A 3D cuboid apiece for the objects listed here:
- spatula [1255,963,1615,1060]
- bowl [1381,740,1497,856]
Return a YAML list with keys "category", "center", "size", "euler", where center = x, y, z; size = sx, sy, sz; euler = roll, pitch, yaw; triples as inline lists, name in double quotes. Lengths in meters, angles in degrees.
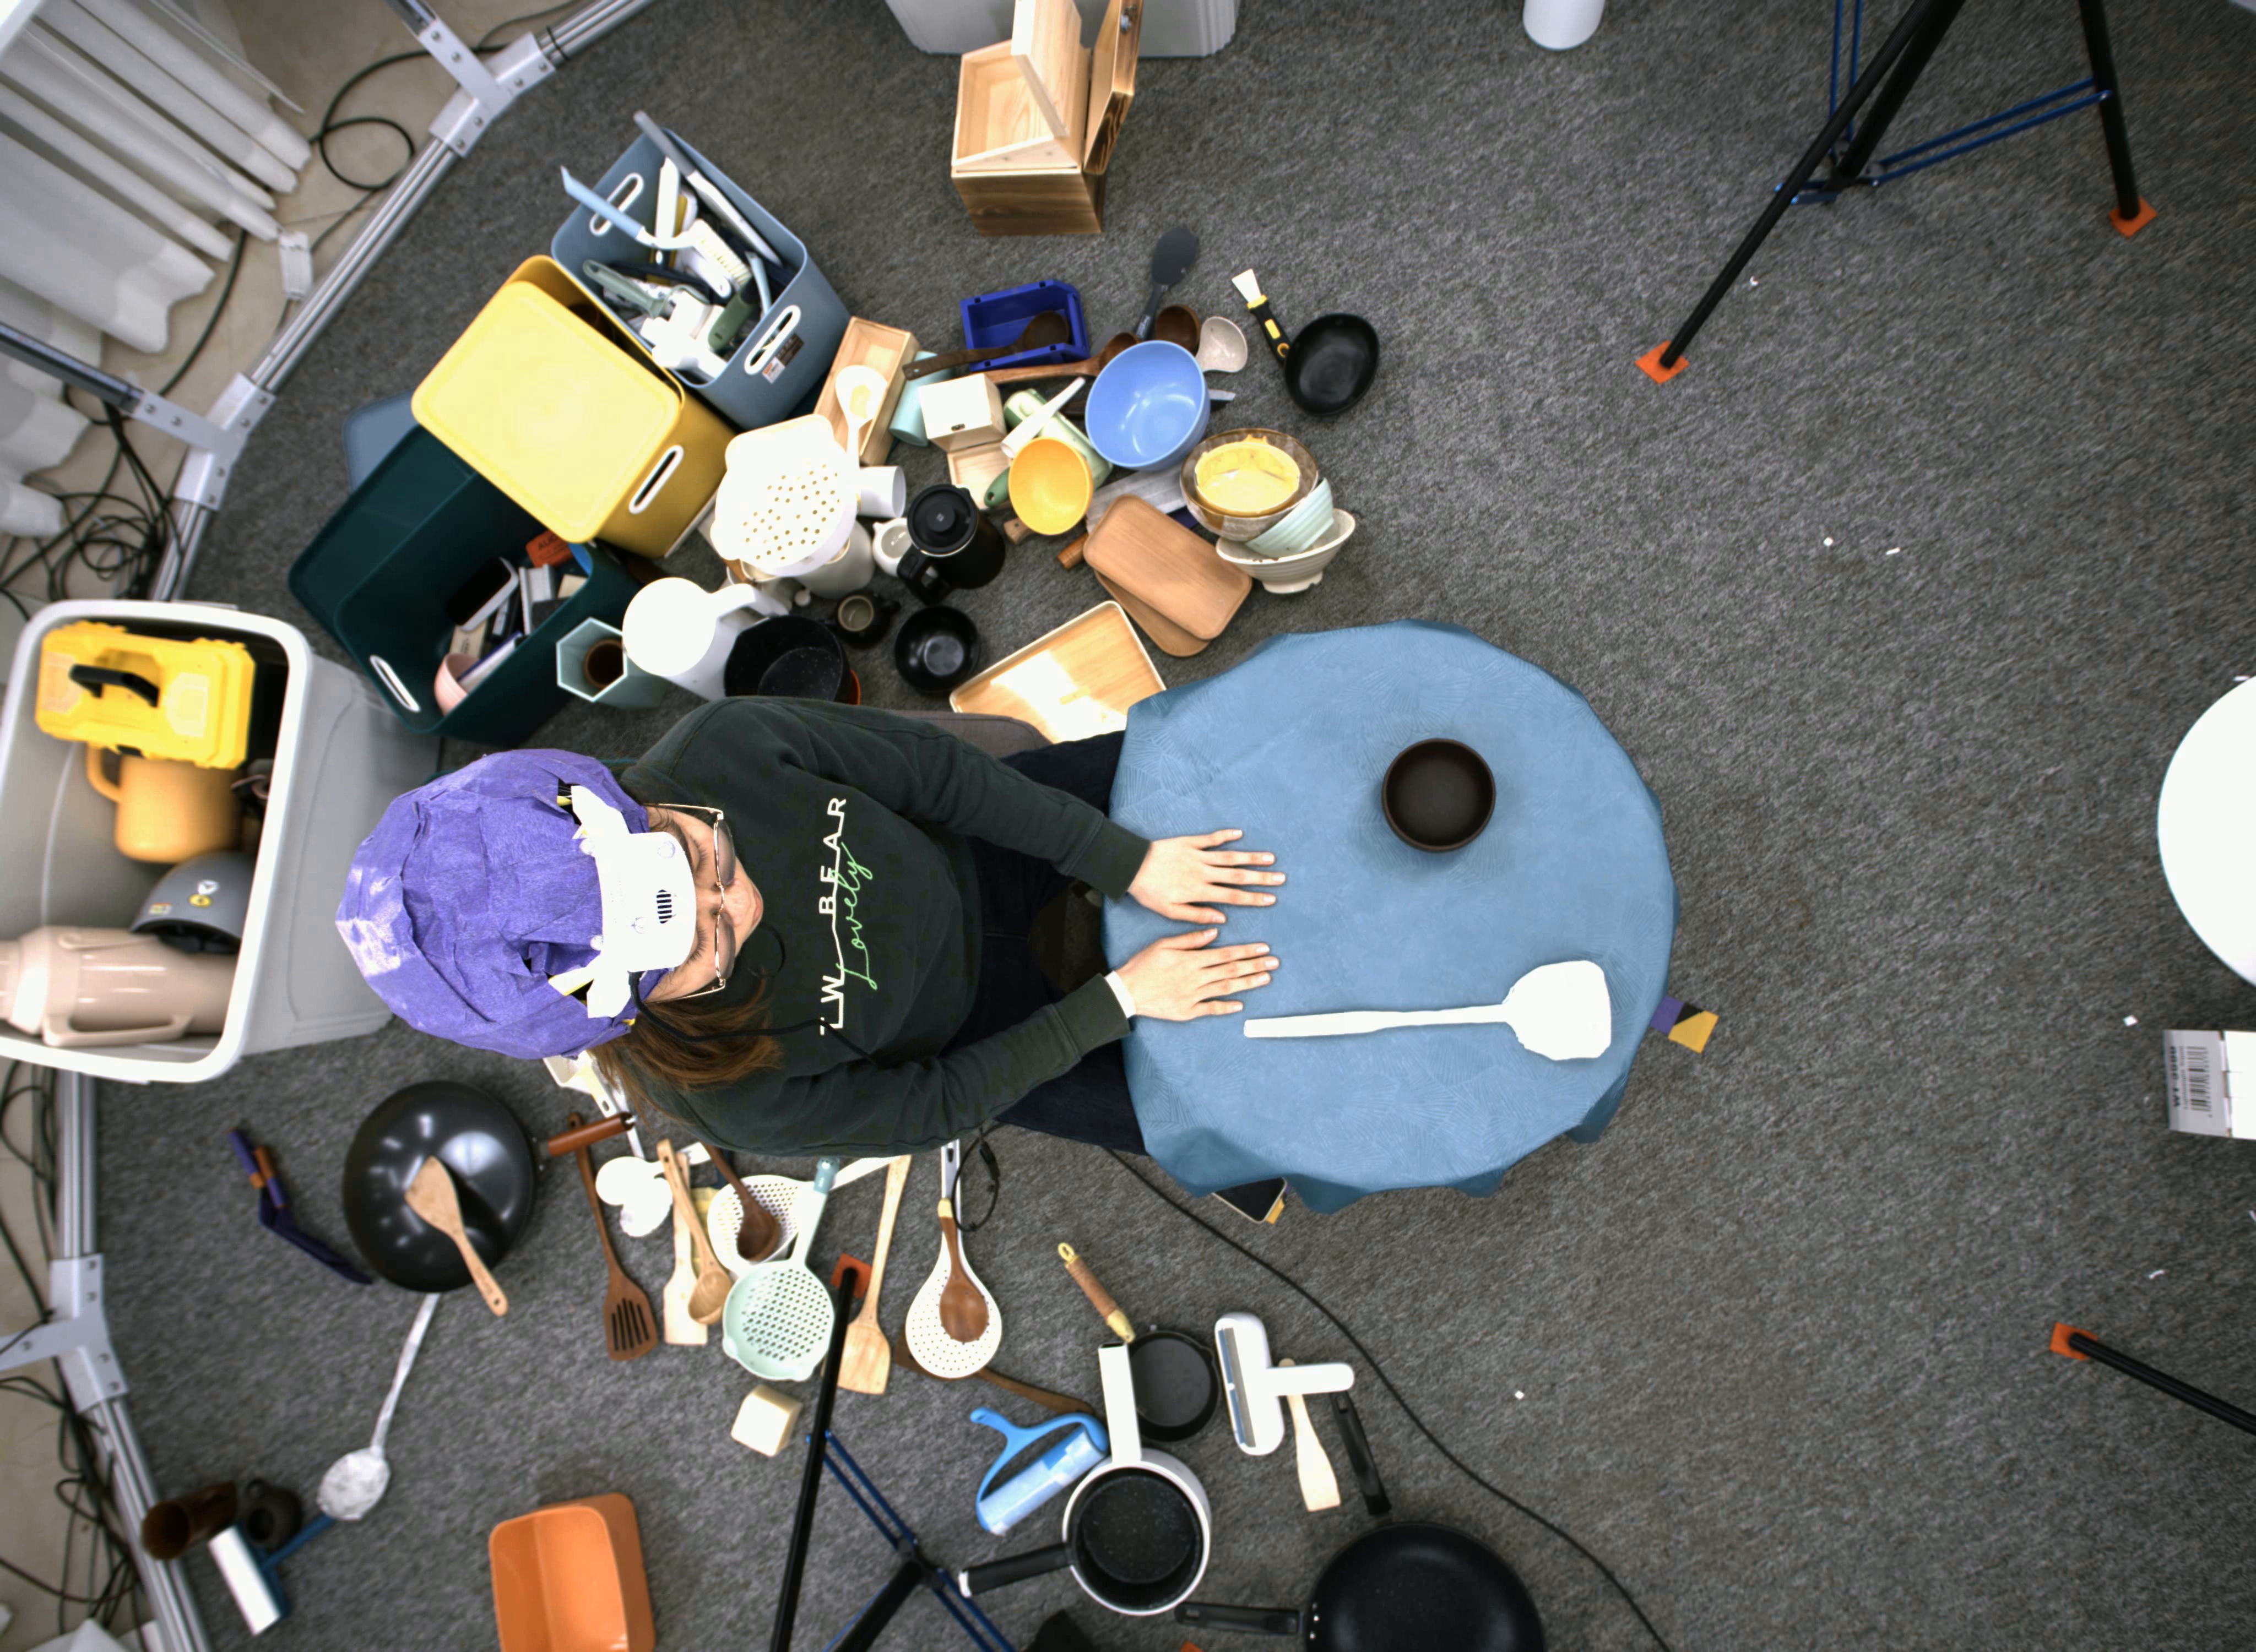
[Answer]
- category: "spatula"
  center: [0.312, 0.195, 1.429]
  size: [0.366, 0.045, 0.098]
  euler: [-4, 87, 10]
- category: "bowl"
  center: [0.322, -0.028, 1.426]
  size: [0.118, 0.070, 0.117]
  euler: [-1, 84, 12]
